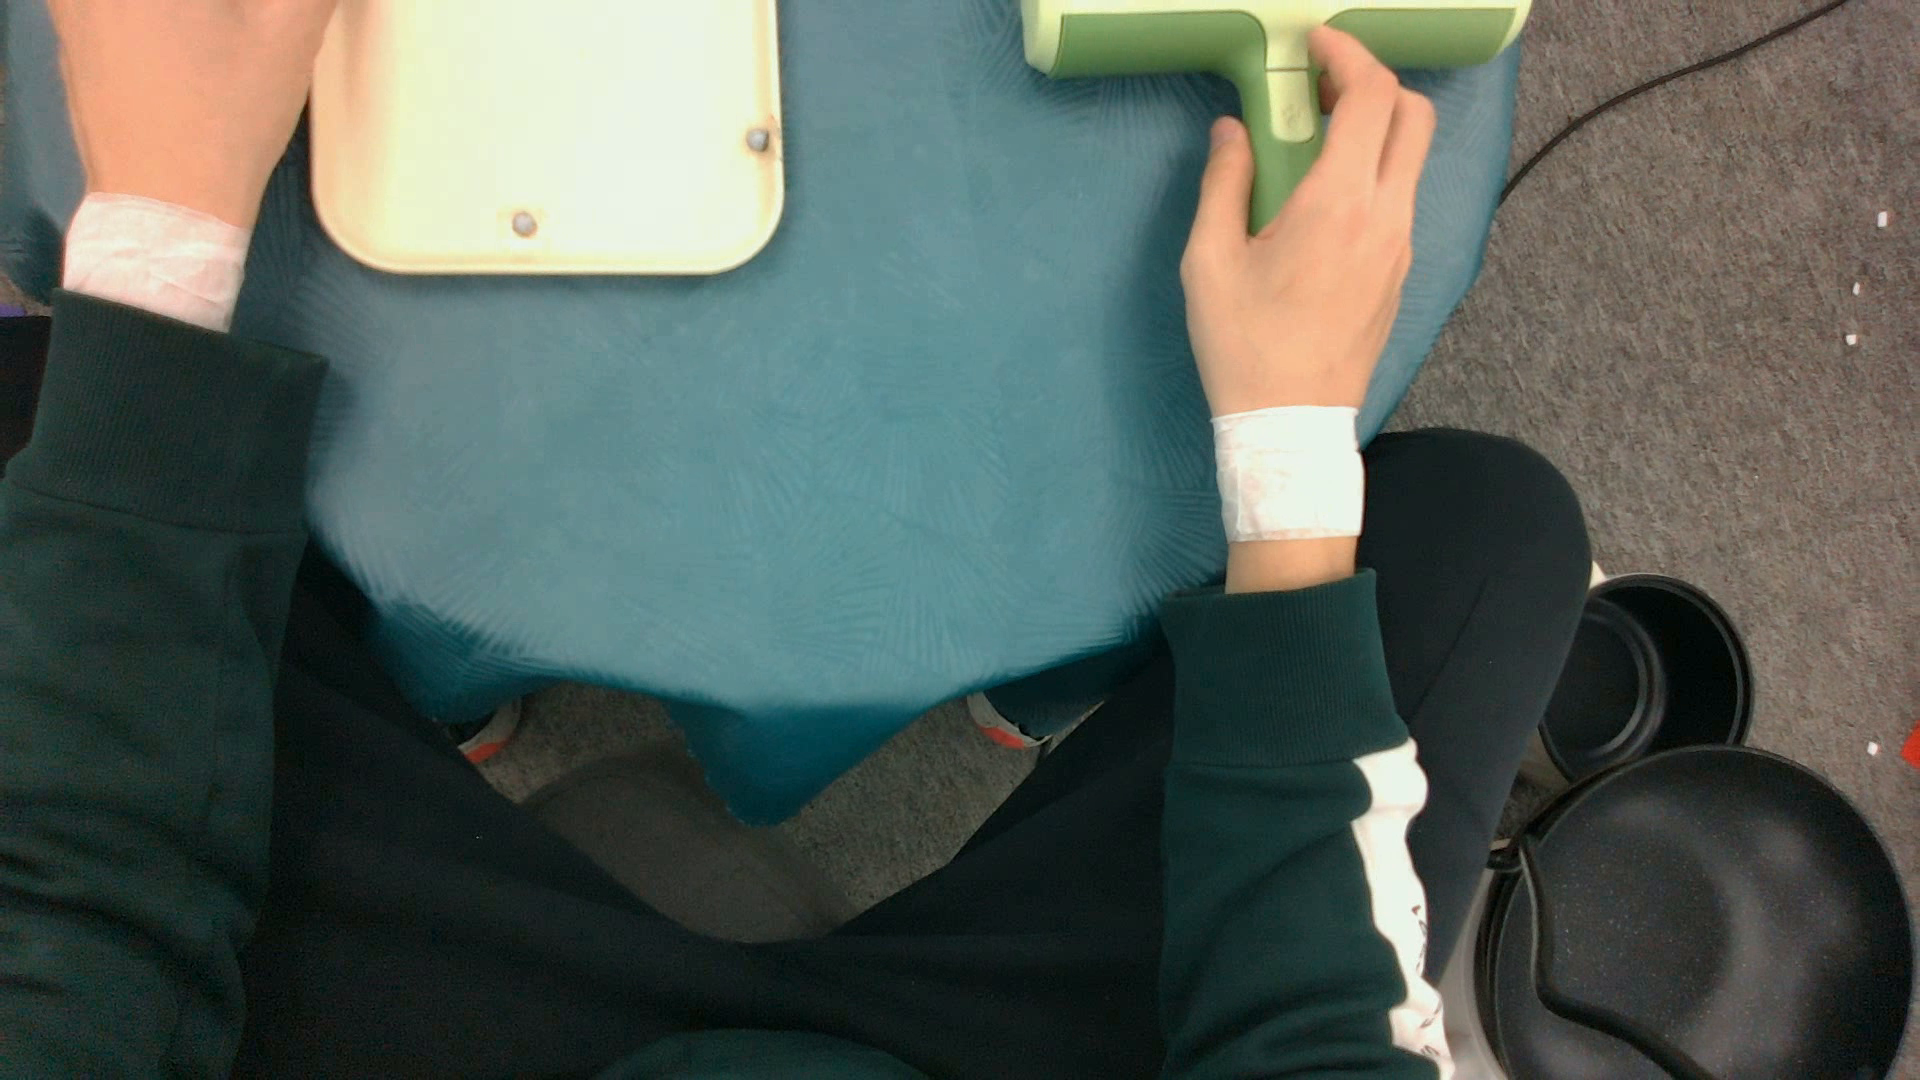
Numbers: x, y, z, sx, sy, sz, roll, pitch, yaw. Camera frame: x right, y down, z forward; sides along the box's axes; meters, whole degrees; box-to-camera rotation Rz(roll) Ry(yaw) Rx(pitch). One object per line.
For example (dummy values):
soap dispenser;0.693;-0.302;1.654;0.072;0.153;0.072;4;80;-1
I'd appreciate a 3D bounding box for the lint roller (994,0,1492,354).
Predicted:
lint roller;0.119;-0.169;0.532;0.199;0.082;0.183;-4;79;-8

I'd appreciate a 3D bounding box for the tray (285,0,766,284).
tray;-0.166;-0.217;0.524;0.171;0.017;0.239;-4;89;-9
